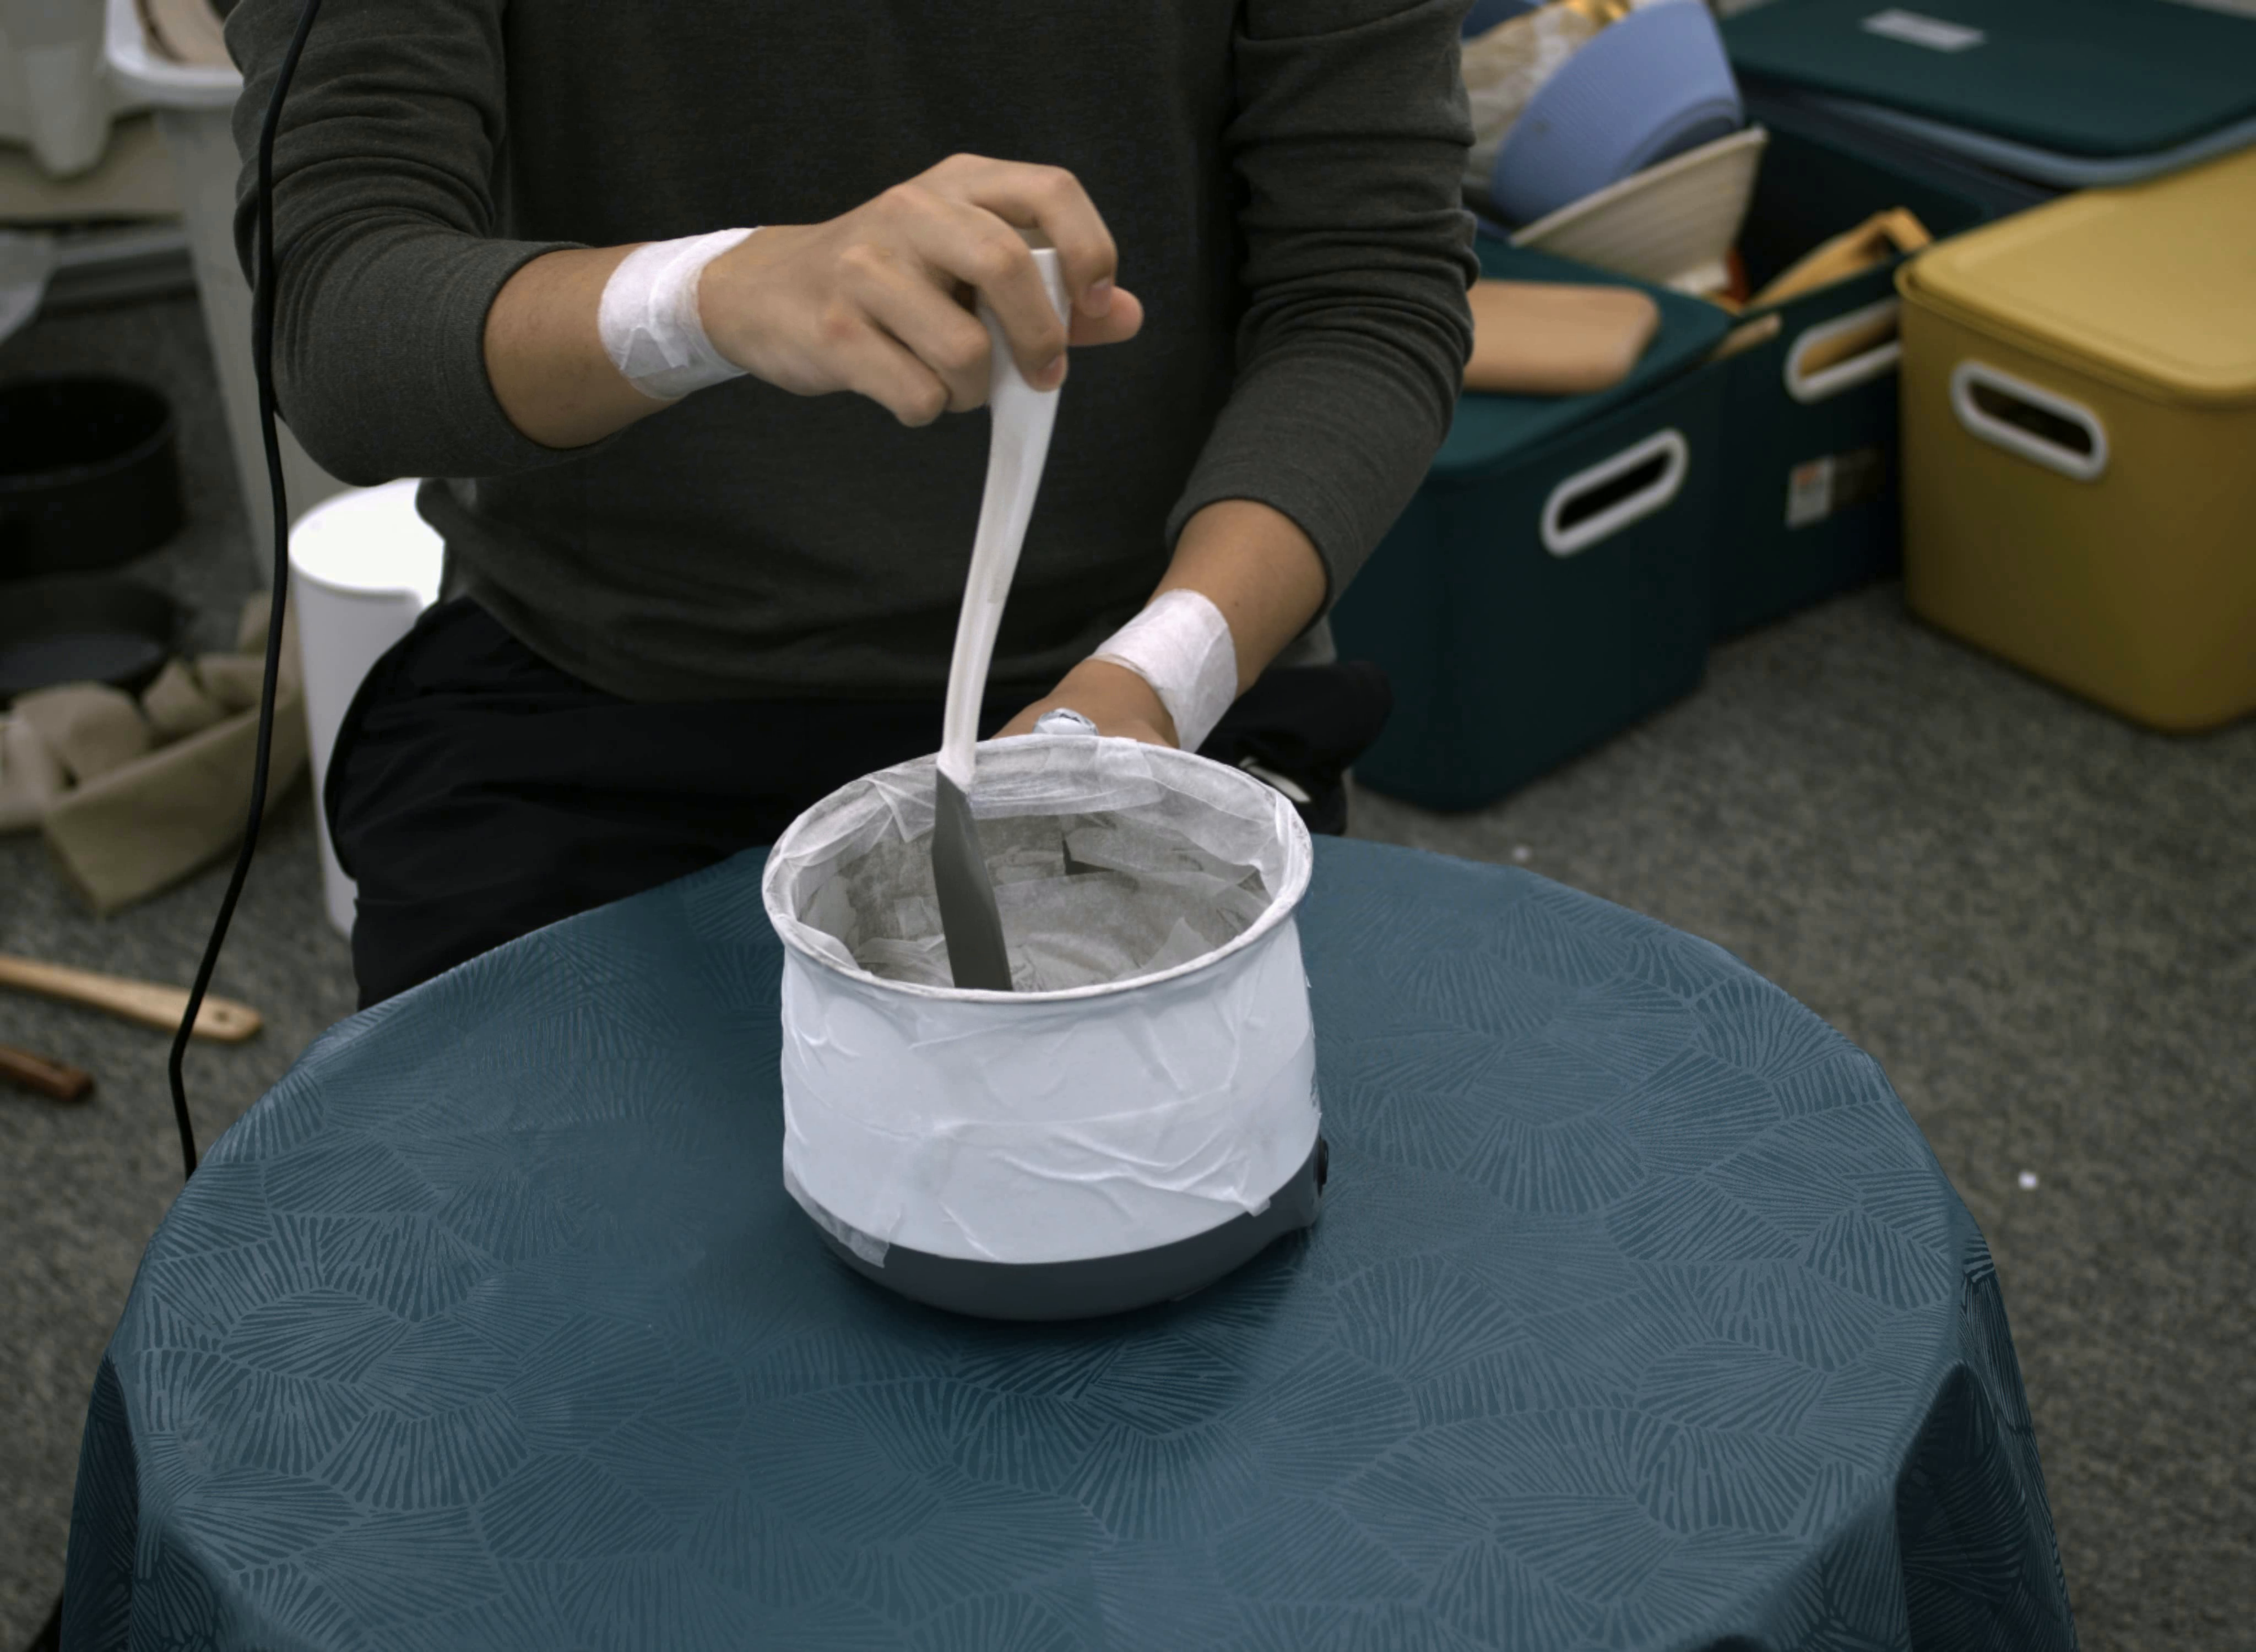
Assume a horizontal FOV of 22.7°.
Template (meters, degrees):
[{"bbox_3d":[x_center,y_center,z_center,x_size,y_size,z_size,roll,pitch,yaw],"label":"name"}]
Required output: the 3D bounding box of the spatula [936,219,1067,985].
[{"bbox_3d":[-0.043,-0.051,1.795,0.032,0.285,0.059,-7,24,-25],"label":"spatula"}]

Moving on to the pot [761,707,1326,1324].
[{"bbox_3d":[-0.025,0.055,1.847,0.178,0.135,0.237,-1,27,4],"label":"pot"}]
